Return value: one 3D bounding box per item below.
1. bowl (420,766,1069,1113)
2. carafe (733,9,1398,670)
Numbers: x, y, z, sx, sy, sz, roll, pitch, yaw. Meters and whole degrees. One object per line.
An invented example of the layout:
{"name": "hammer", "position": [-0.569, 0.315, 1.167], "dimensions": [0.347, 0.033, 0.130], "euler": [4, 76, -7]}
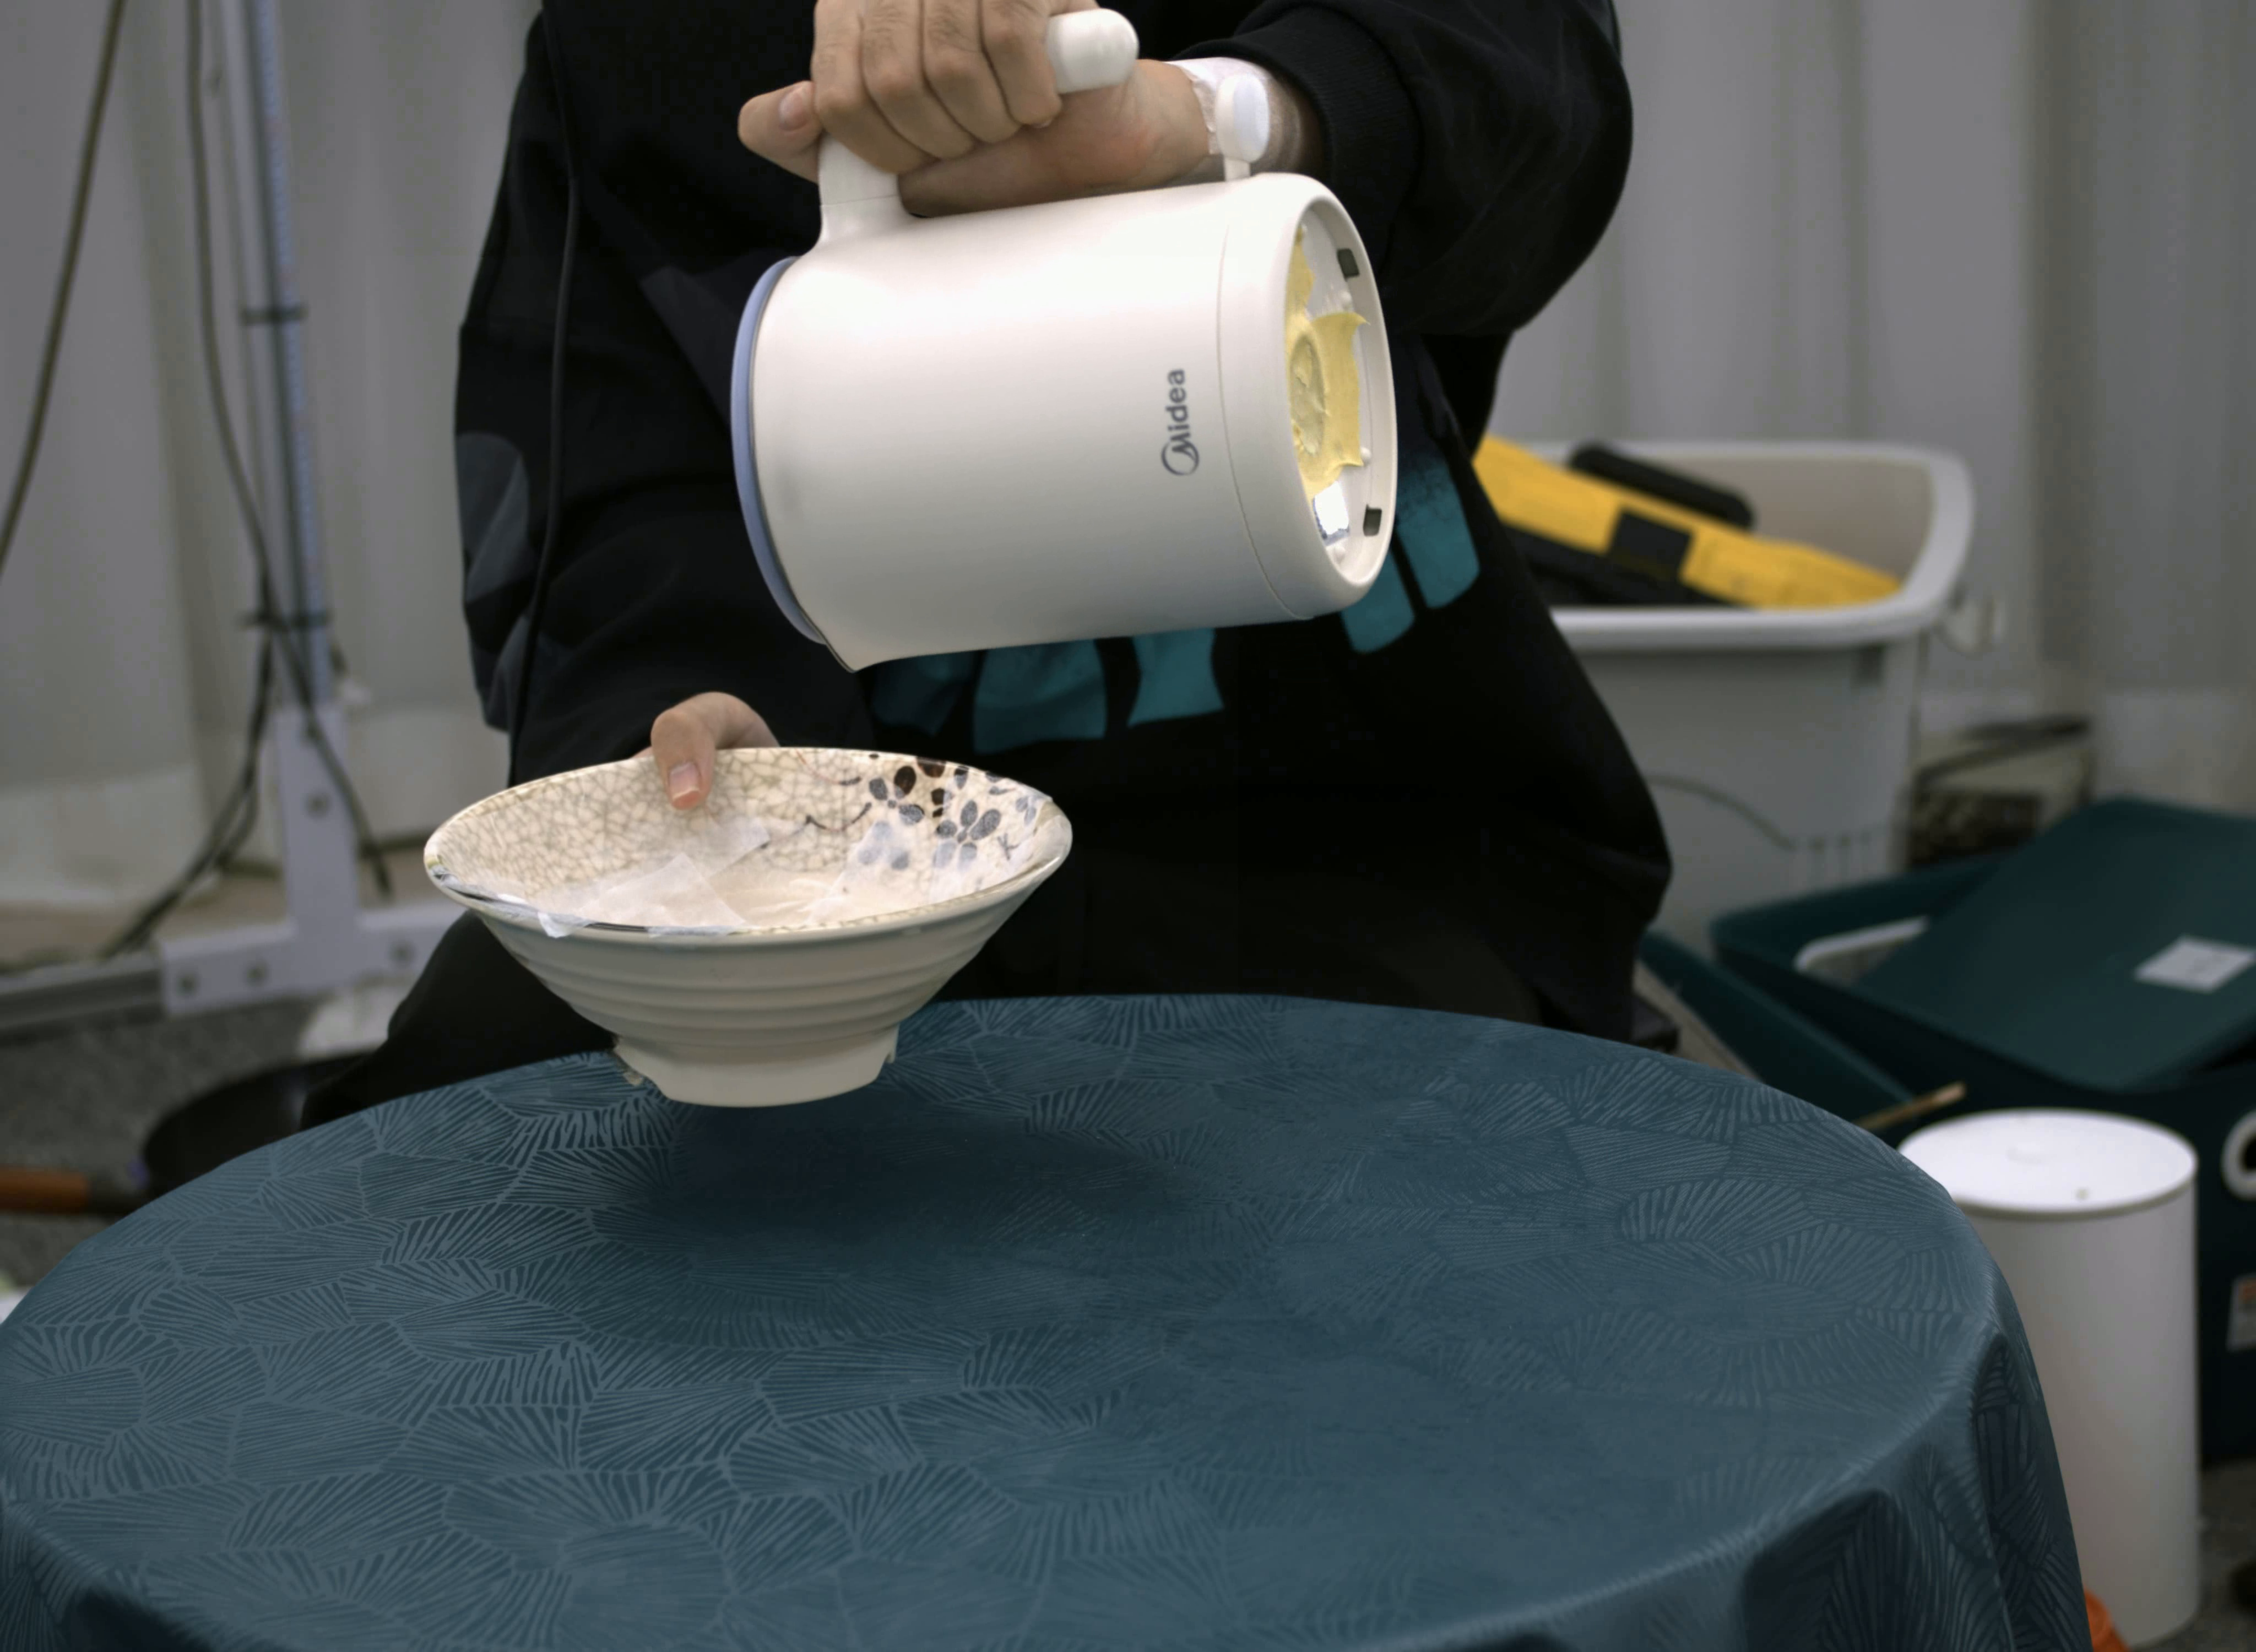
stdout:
{"name": "bowl", "position": [-0.120, 0.041, 1.722], "dimensions": [0.203, 0.077, 0.205], "euler": [0, 13, 0]}
{"name": "carafe", "position": [-0.019, -0.145, 1.633], "dimensions": [0.182, 0.191, 0.132], "euler": [-3, 6, 17]}
